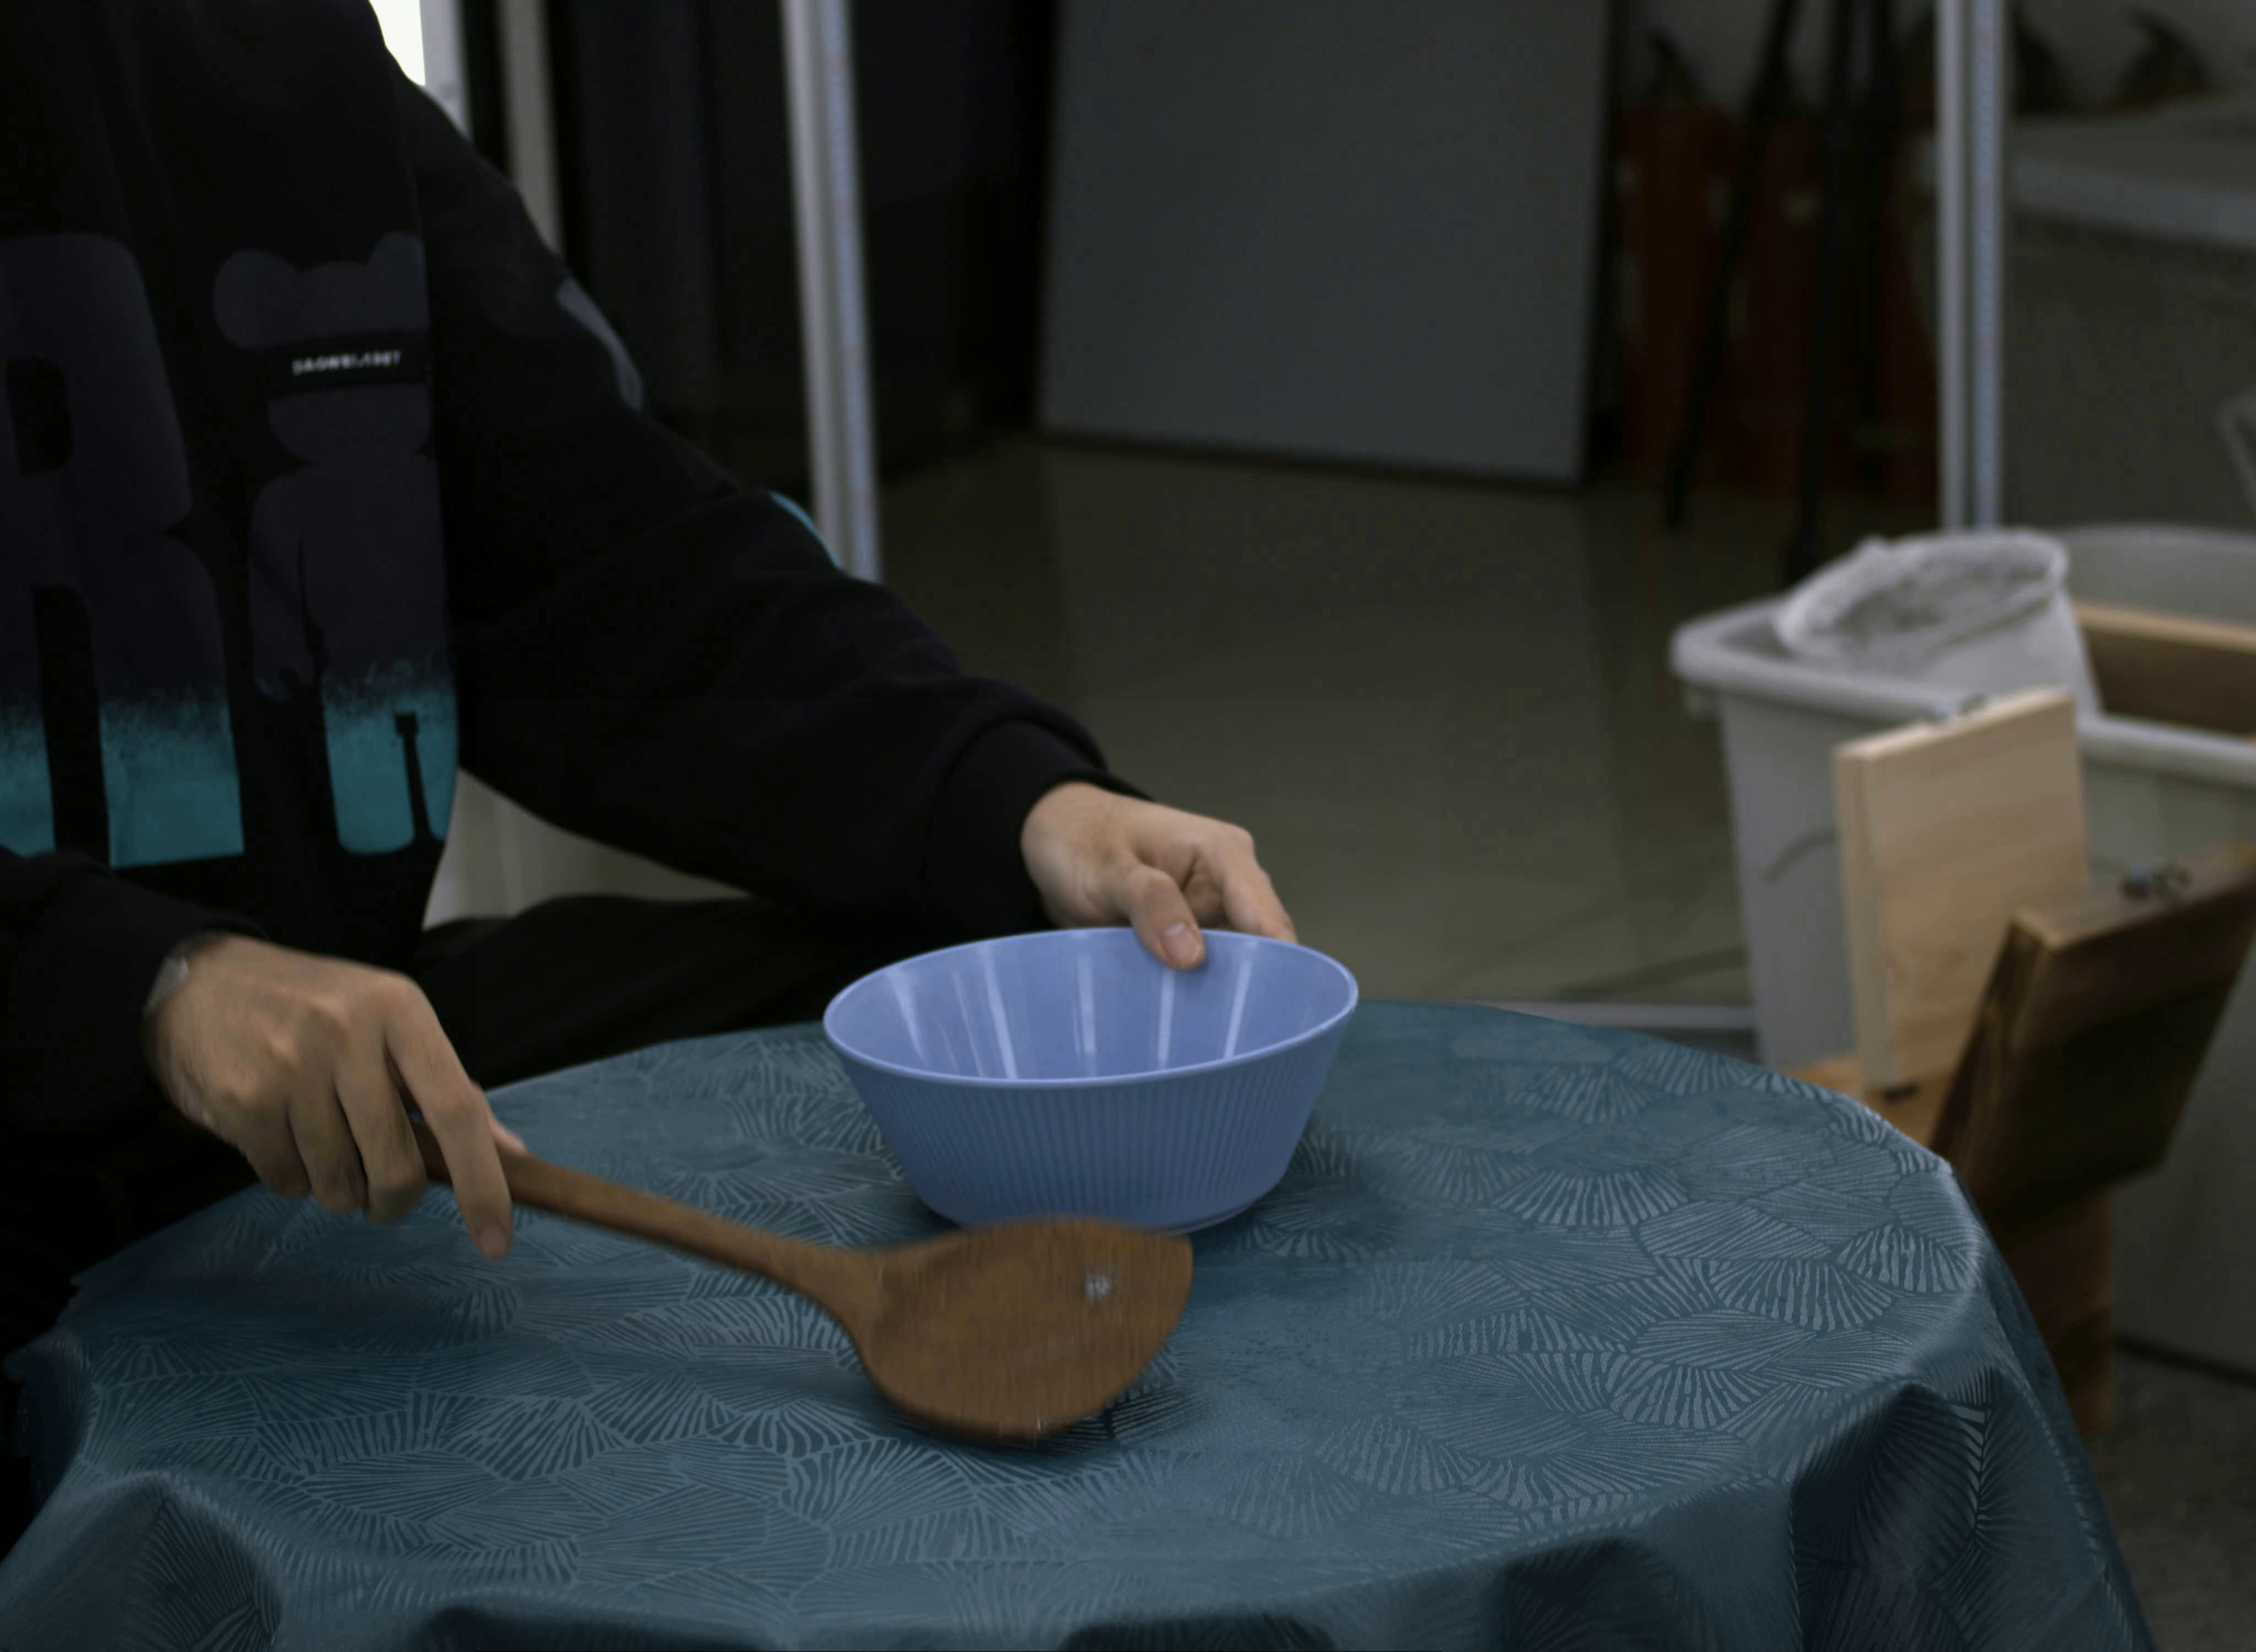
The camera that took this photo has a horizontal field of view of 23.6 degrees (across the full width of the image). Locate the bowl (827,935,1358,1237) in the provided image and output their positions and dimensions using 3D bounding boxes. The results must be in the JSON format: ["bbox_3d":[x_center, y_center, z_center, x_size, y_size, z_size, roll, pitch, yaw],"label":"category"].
[{"bbox_3d":[-0.009,0.089,1.759,0.174,0.071,0.176,-5,13,0],"label":"bowl"}]

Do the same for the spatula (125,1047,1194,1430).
[{"bbox_3d":[-0.156,0.115,1.651,0.387,0.016,0.095,12,43,29],"label":"spatula"}]
